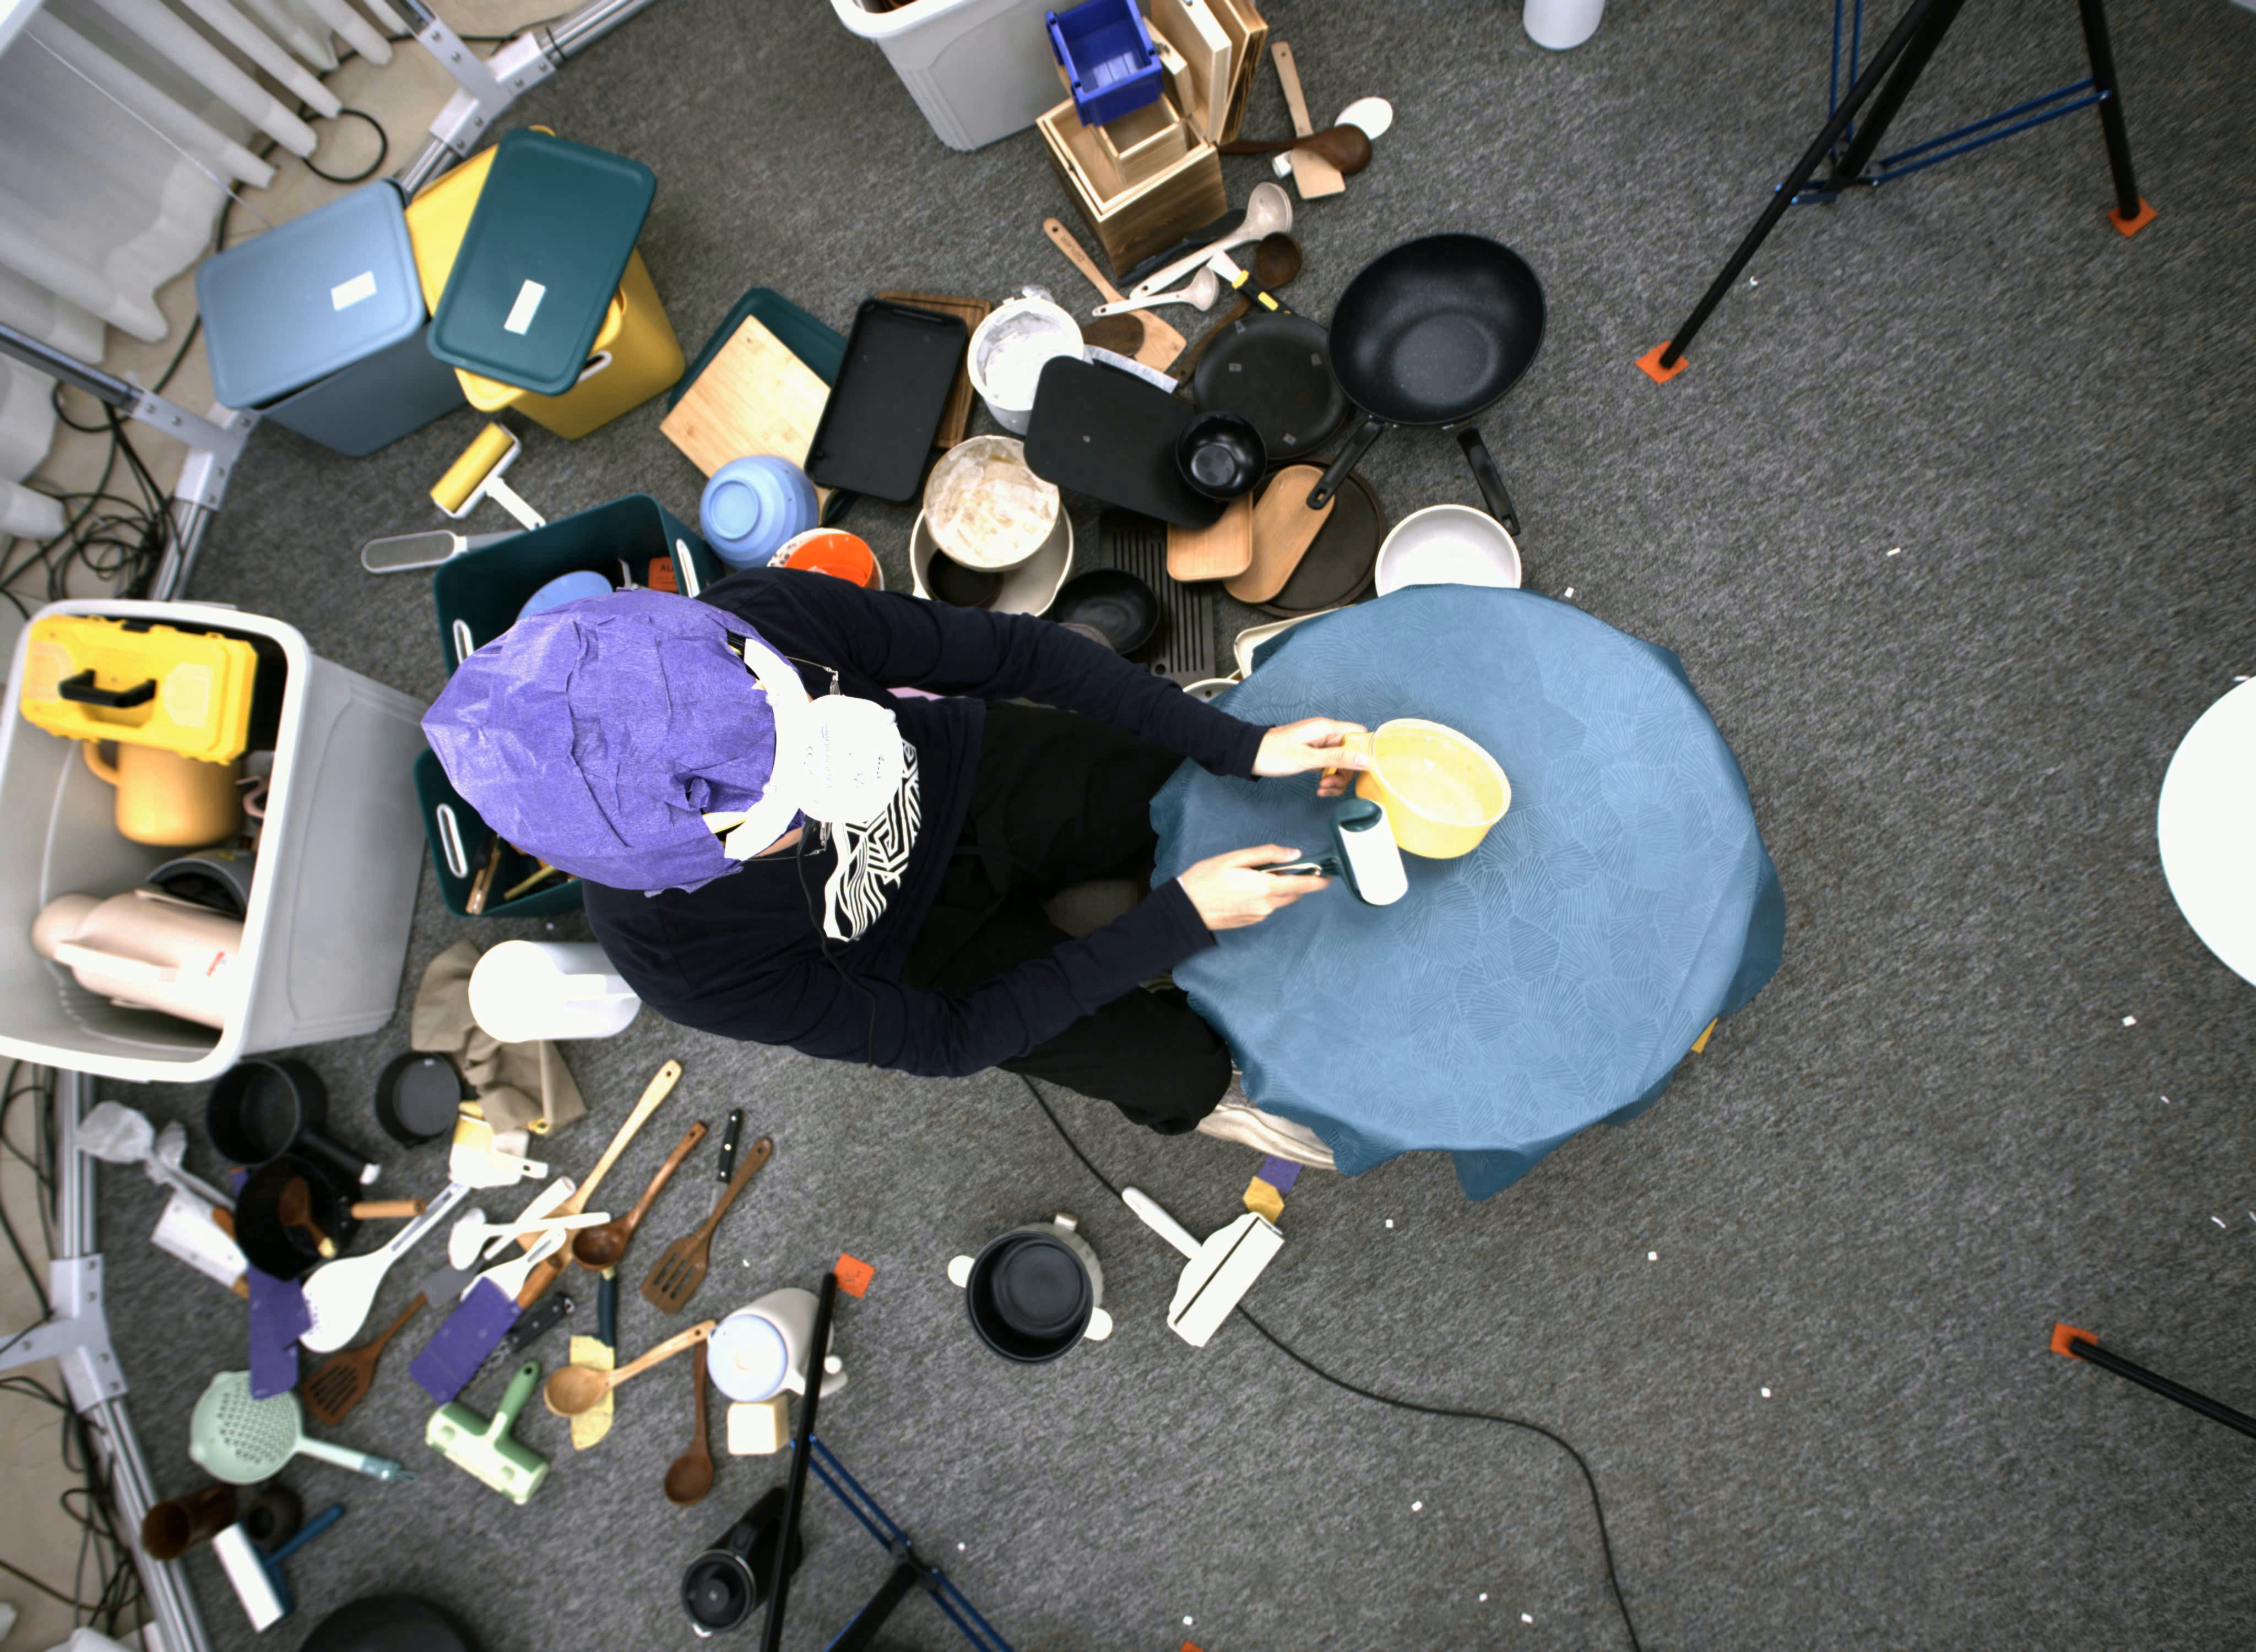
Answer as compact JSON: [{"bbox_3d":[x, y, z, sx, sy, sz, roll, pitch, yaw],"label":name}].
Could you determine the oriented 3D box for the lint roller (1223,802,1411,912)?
[{"bbox_3d":[0.182,0.047,1.370,0.181,0.137,0.047,-16,41,13],"label":"lint roller"}]

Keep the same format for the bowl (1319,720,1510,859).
[{"bbox_3d":[0.289,-0.040,1.394,0.179,0.076,0.149,15,47,-5],"label":"bowl"}]
